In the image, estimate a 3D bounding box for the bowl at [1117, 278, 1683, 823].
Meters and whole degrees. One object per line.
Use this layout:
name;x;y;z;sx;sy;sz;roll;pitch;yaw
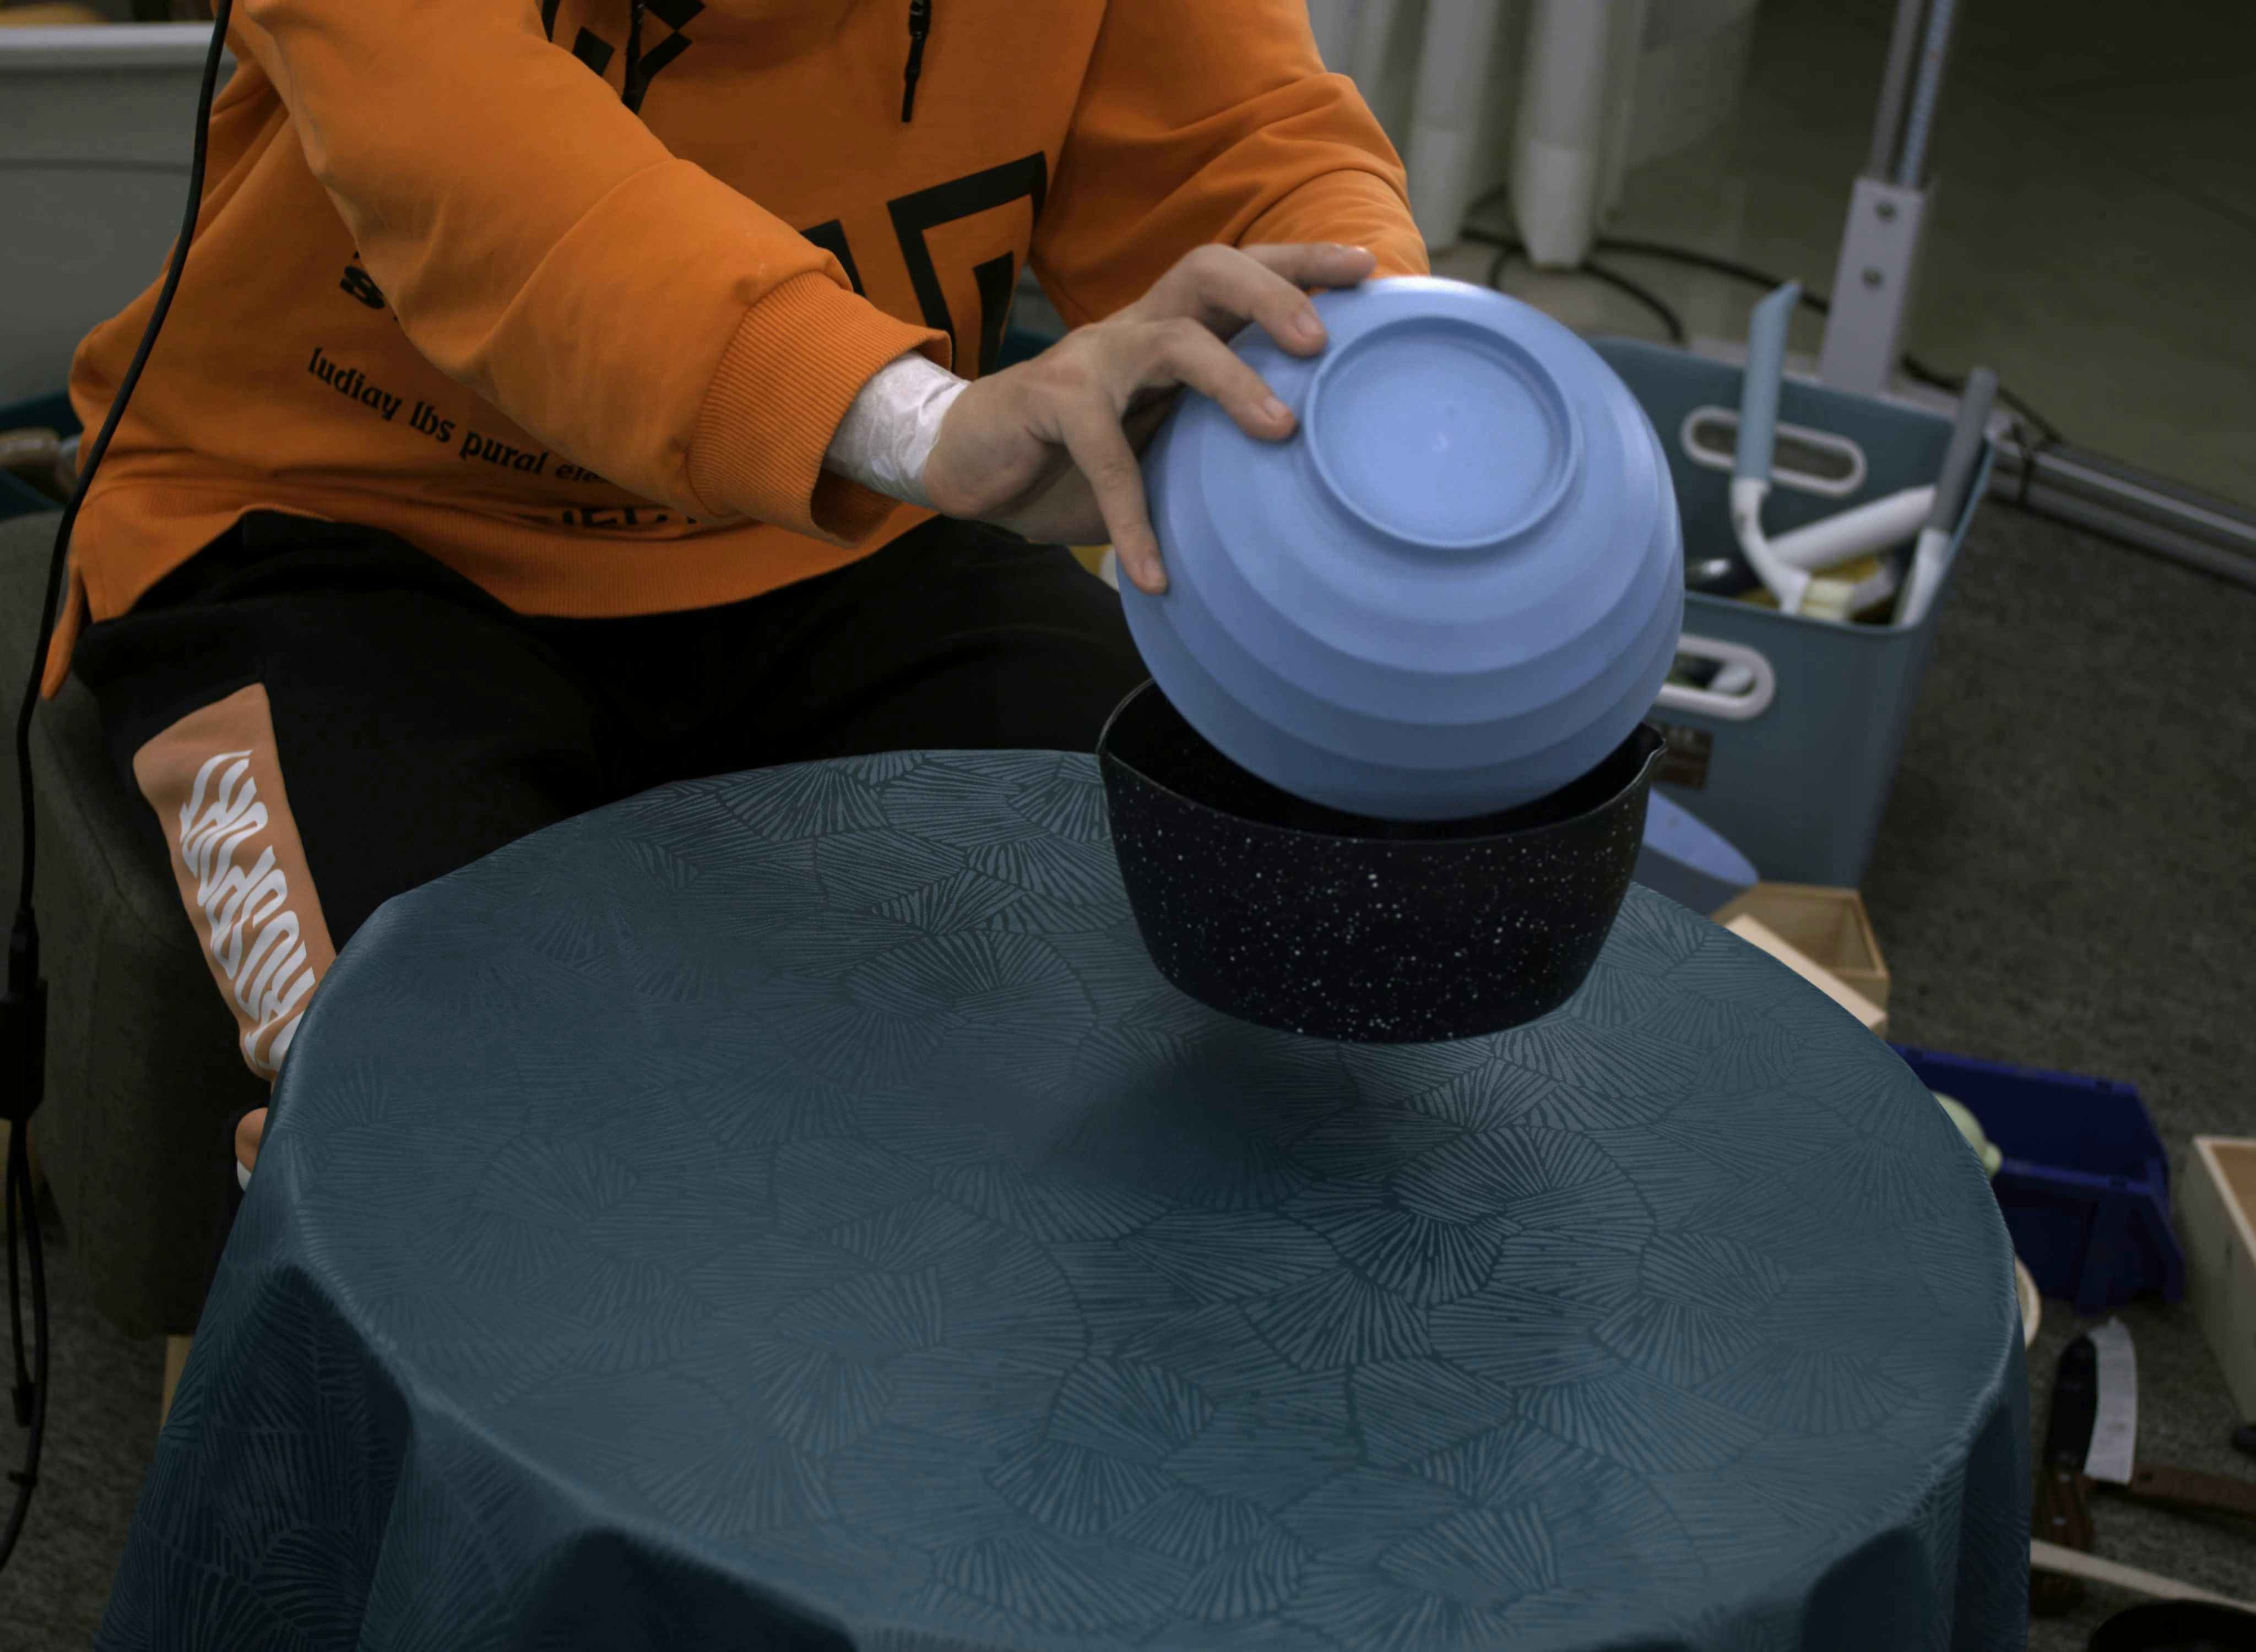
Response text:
bowl;0.098;-0.108;1.782;0.196;0.095;0.198;2;62;-5

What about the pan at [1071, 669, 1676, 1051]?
pan;0.074;-0.034;1.896;0.206;0.108;0.345;-2;24;-7
